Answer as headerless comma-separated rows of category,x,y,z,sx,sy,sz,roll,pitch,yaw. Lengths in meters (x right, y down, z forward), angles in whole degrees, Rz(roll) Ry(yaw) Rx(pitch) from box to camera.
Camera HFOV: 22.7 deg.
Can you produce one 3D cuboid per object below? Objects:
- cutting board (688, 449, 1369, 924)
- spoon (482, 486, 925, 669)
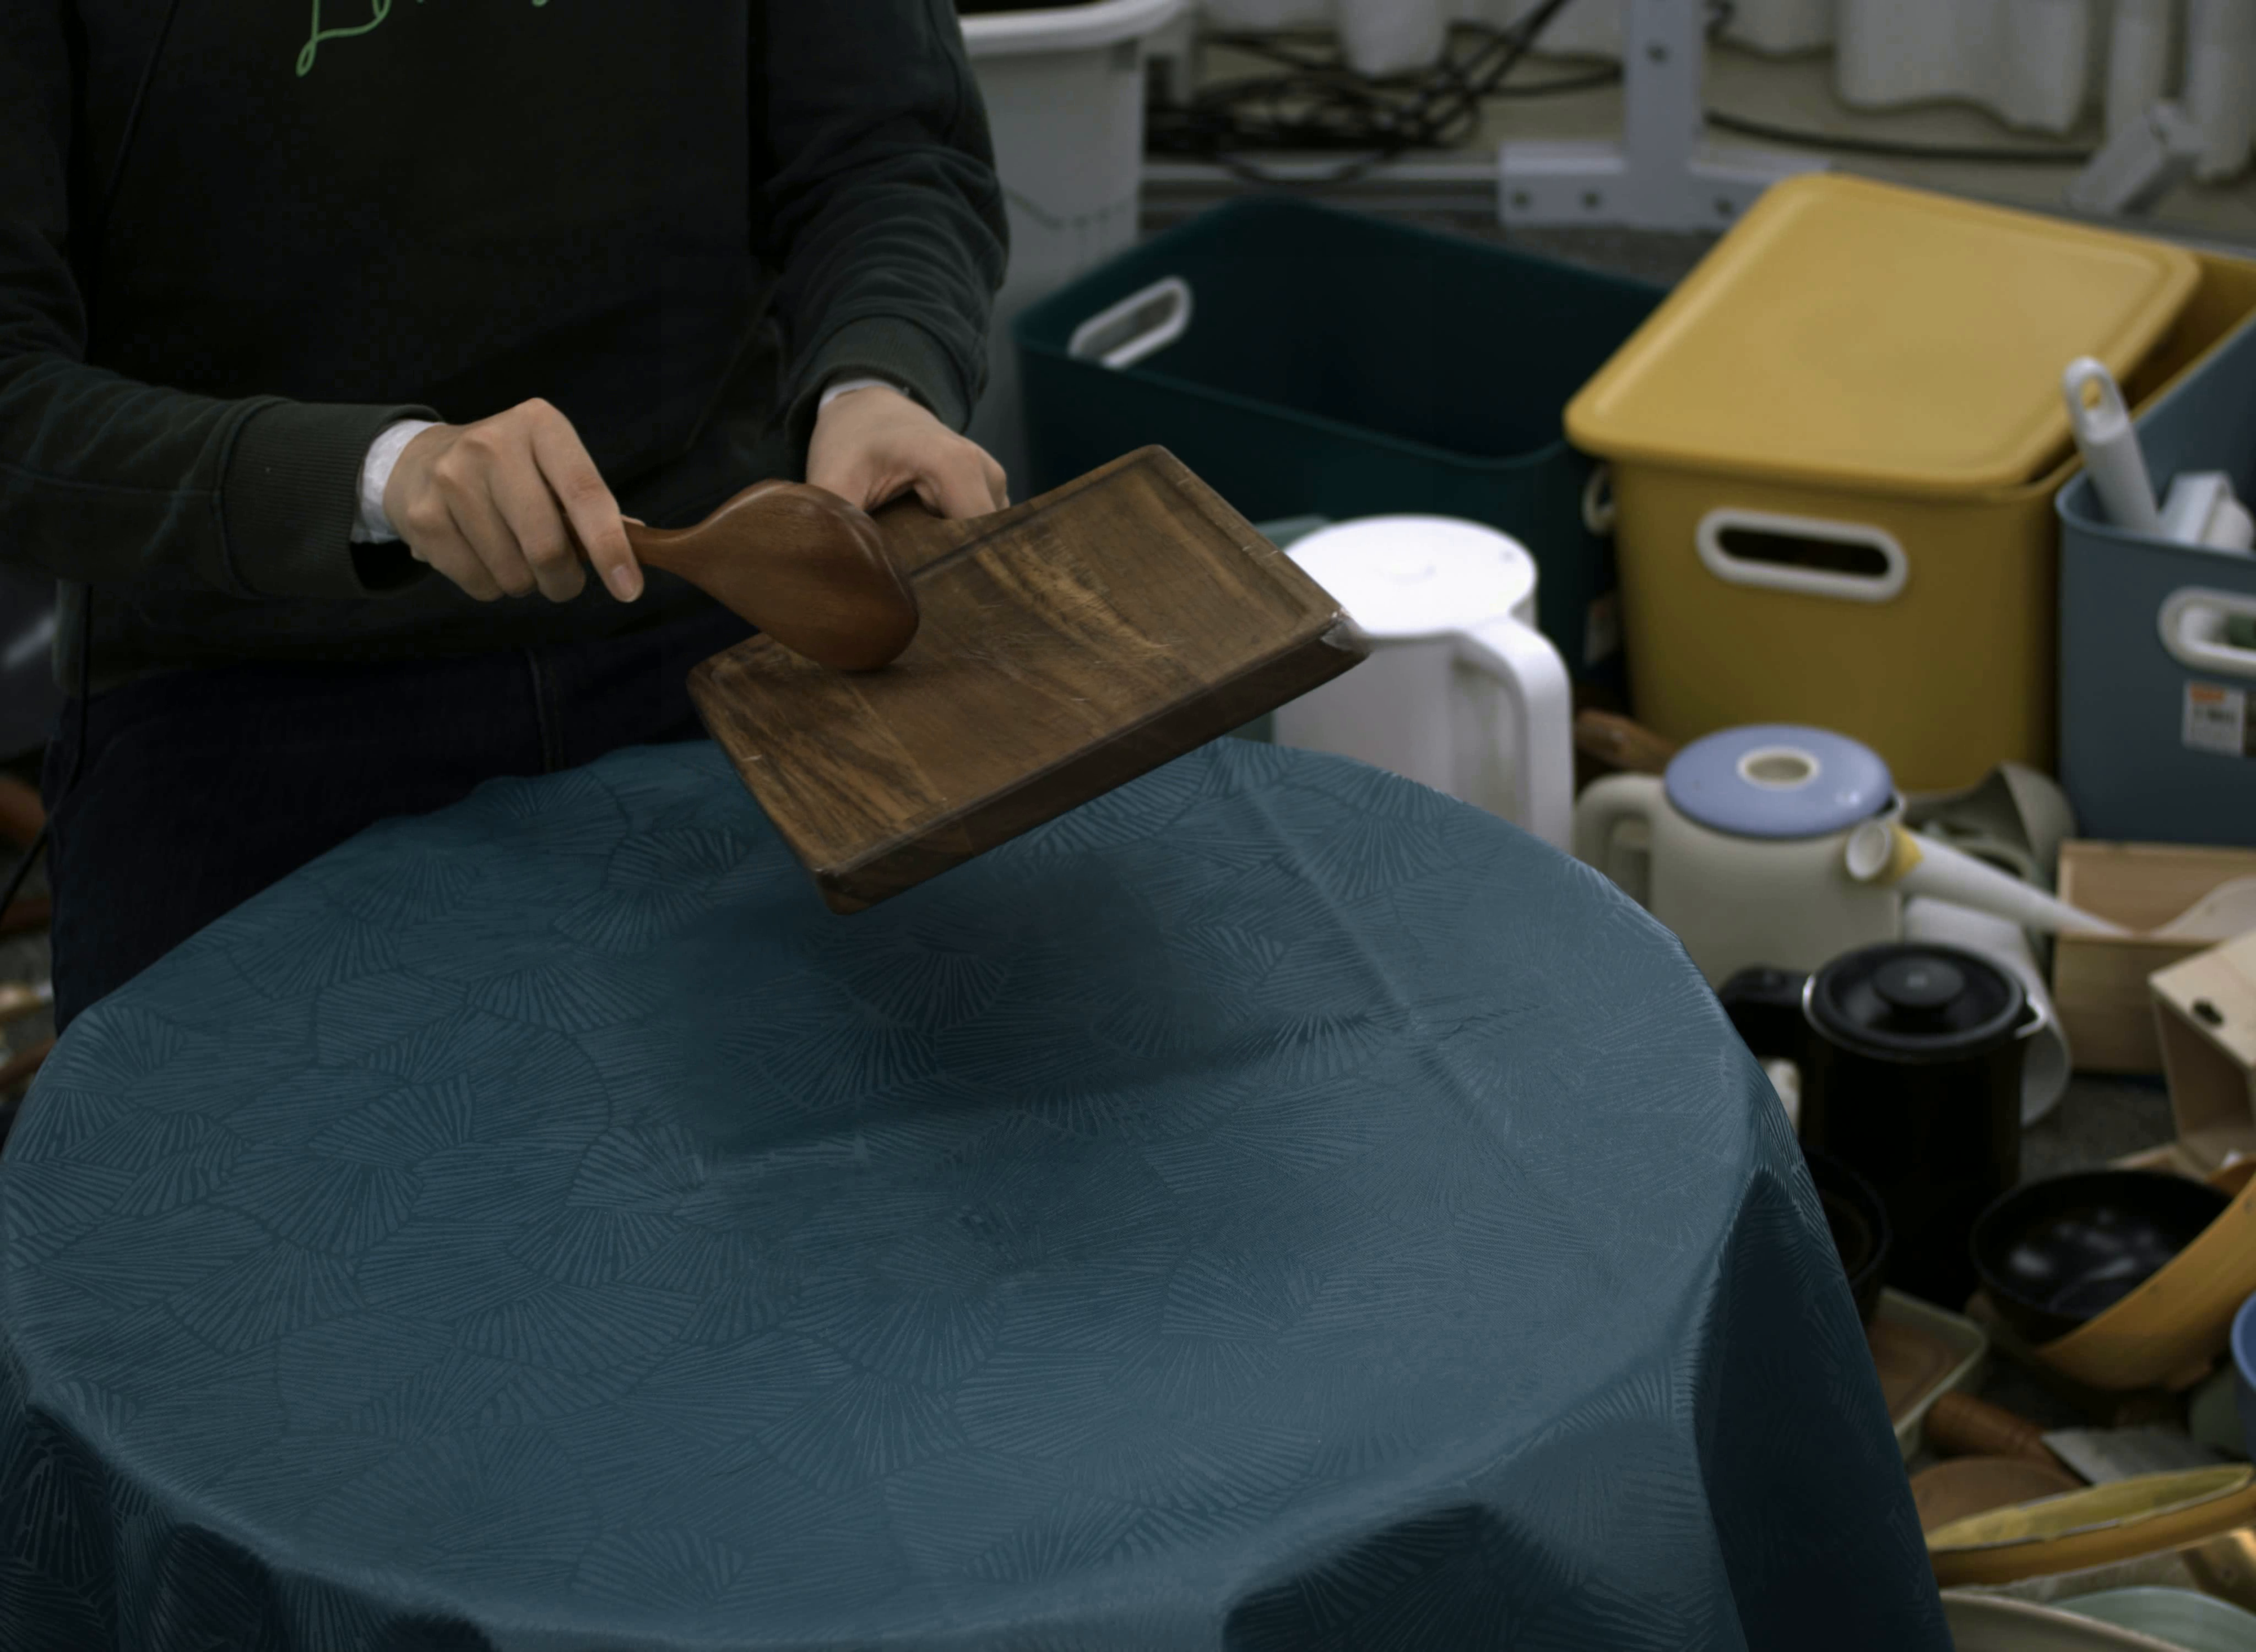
cutting board,-0.052,-0.067,1.977,0.201,0.023,0.354,-27,21,-6
spoon,-0.155,-0.095,1.999,0.214,0.075,0.017,13,43,41
